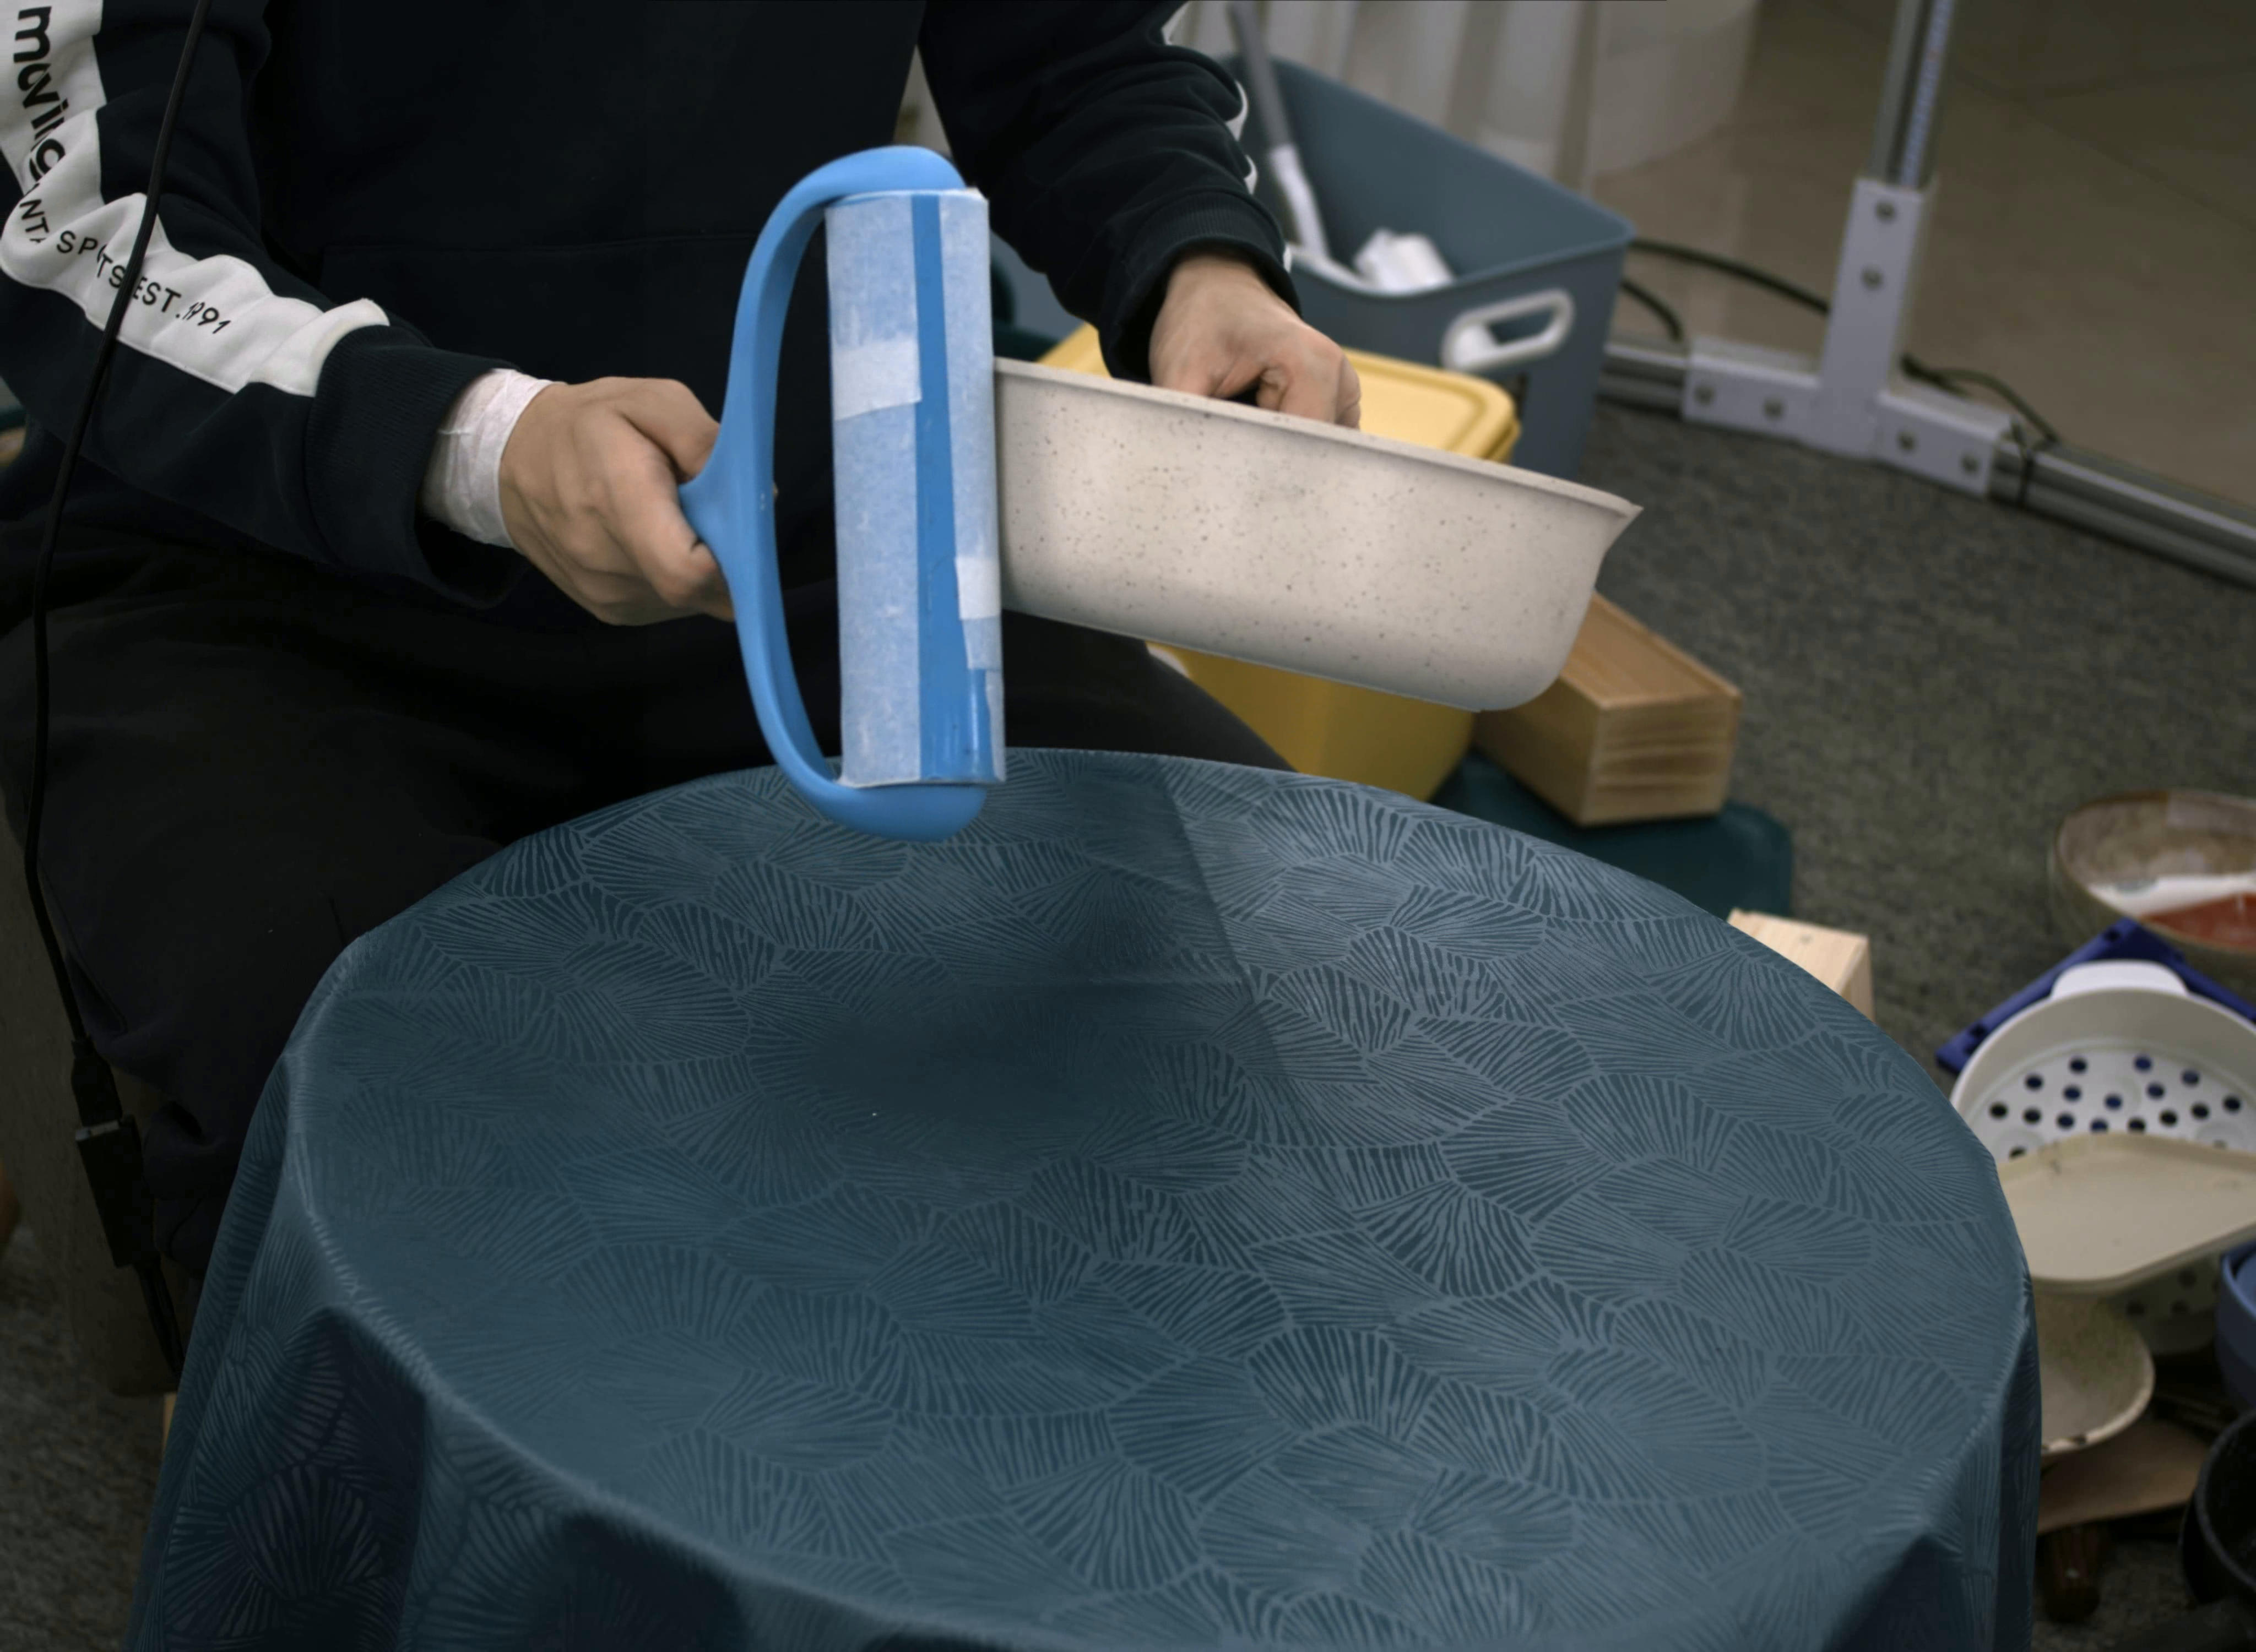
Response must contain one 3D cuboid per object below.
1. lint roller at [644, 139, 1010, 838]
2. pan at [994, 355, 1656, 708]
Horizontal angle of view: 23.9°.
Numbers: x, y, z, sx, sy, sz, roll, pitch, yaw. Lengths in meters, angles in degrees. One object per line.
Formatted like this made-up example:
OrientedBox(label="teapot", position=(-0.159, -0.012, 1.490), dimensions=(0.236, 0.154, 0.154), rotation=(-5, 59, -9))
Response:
OrientedBox(label="lint roller", position=(-0.115, -0.104, 1.778), dimensions=(0.181, 0.230, 0.067), rotation=(-8, -5, 41))
OrientedBox(label="pan", position=(0.043, -0.109, 1.924), dimensions=(0.262, 0.102, 0.435), rotation=(11, 1, -4))
